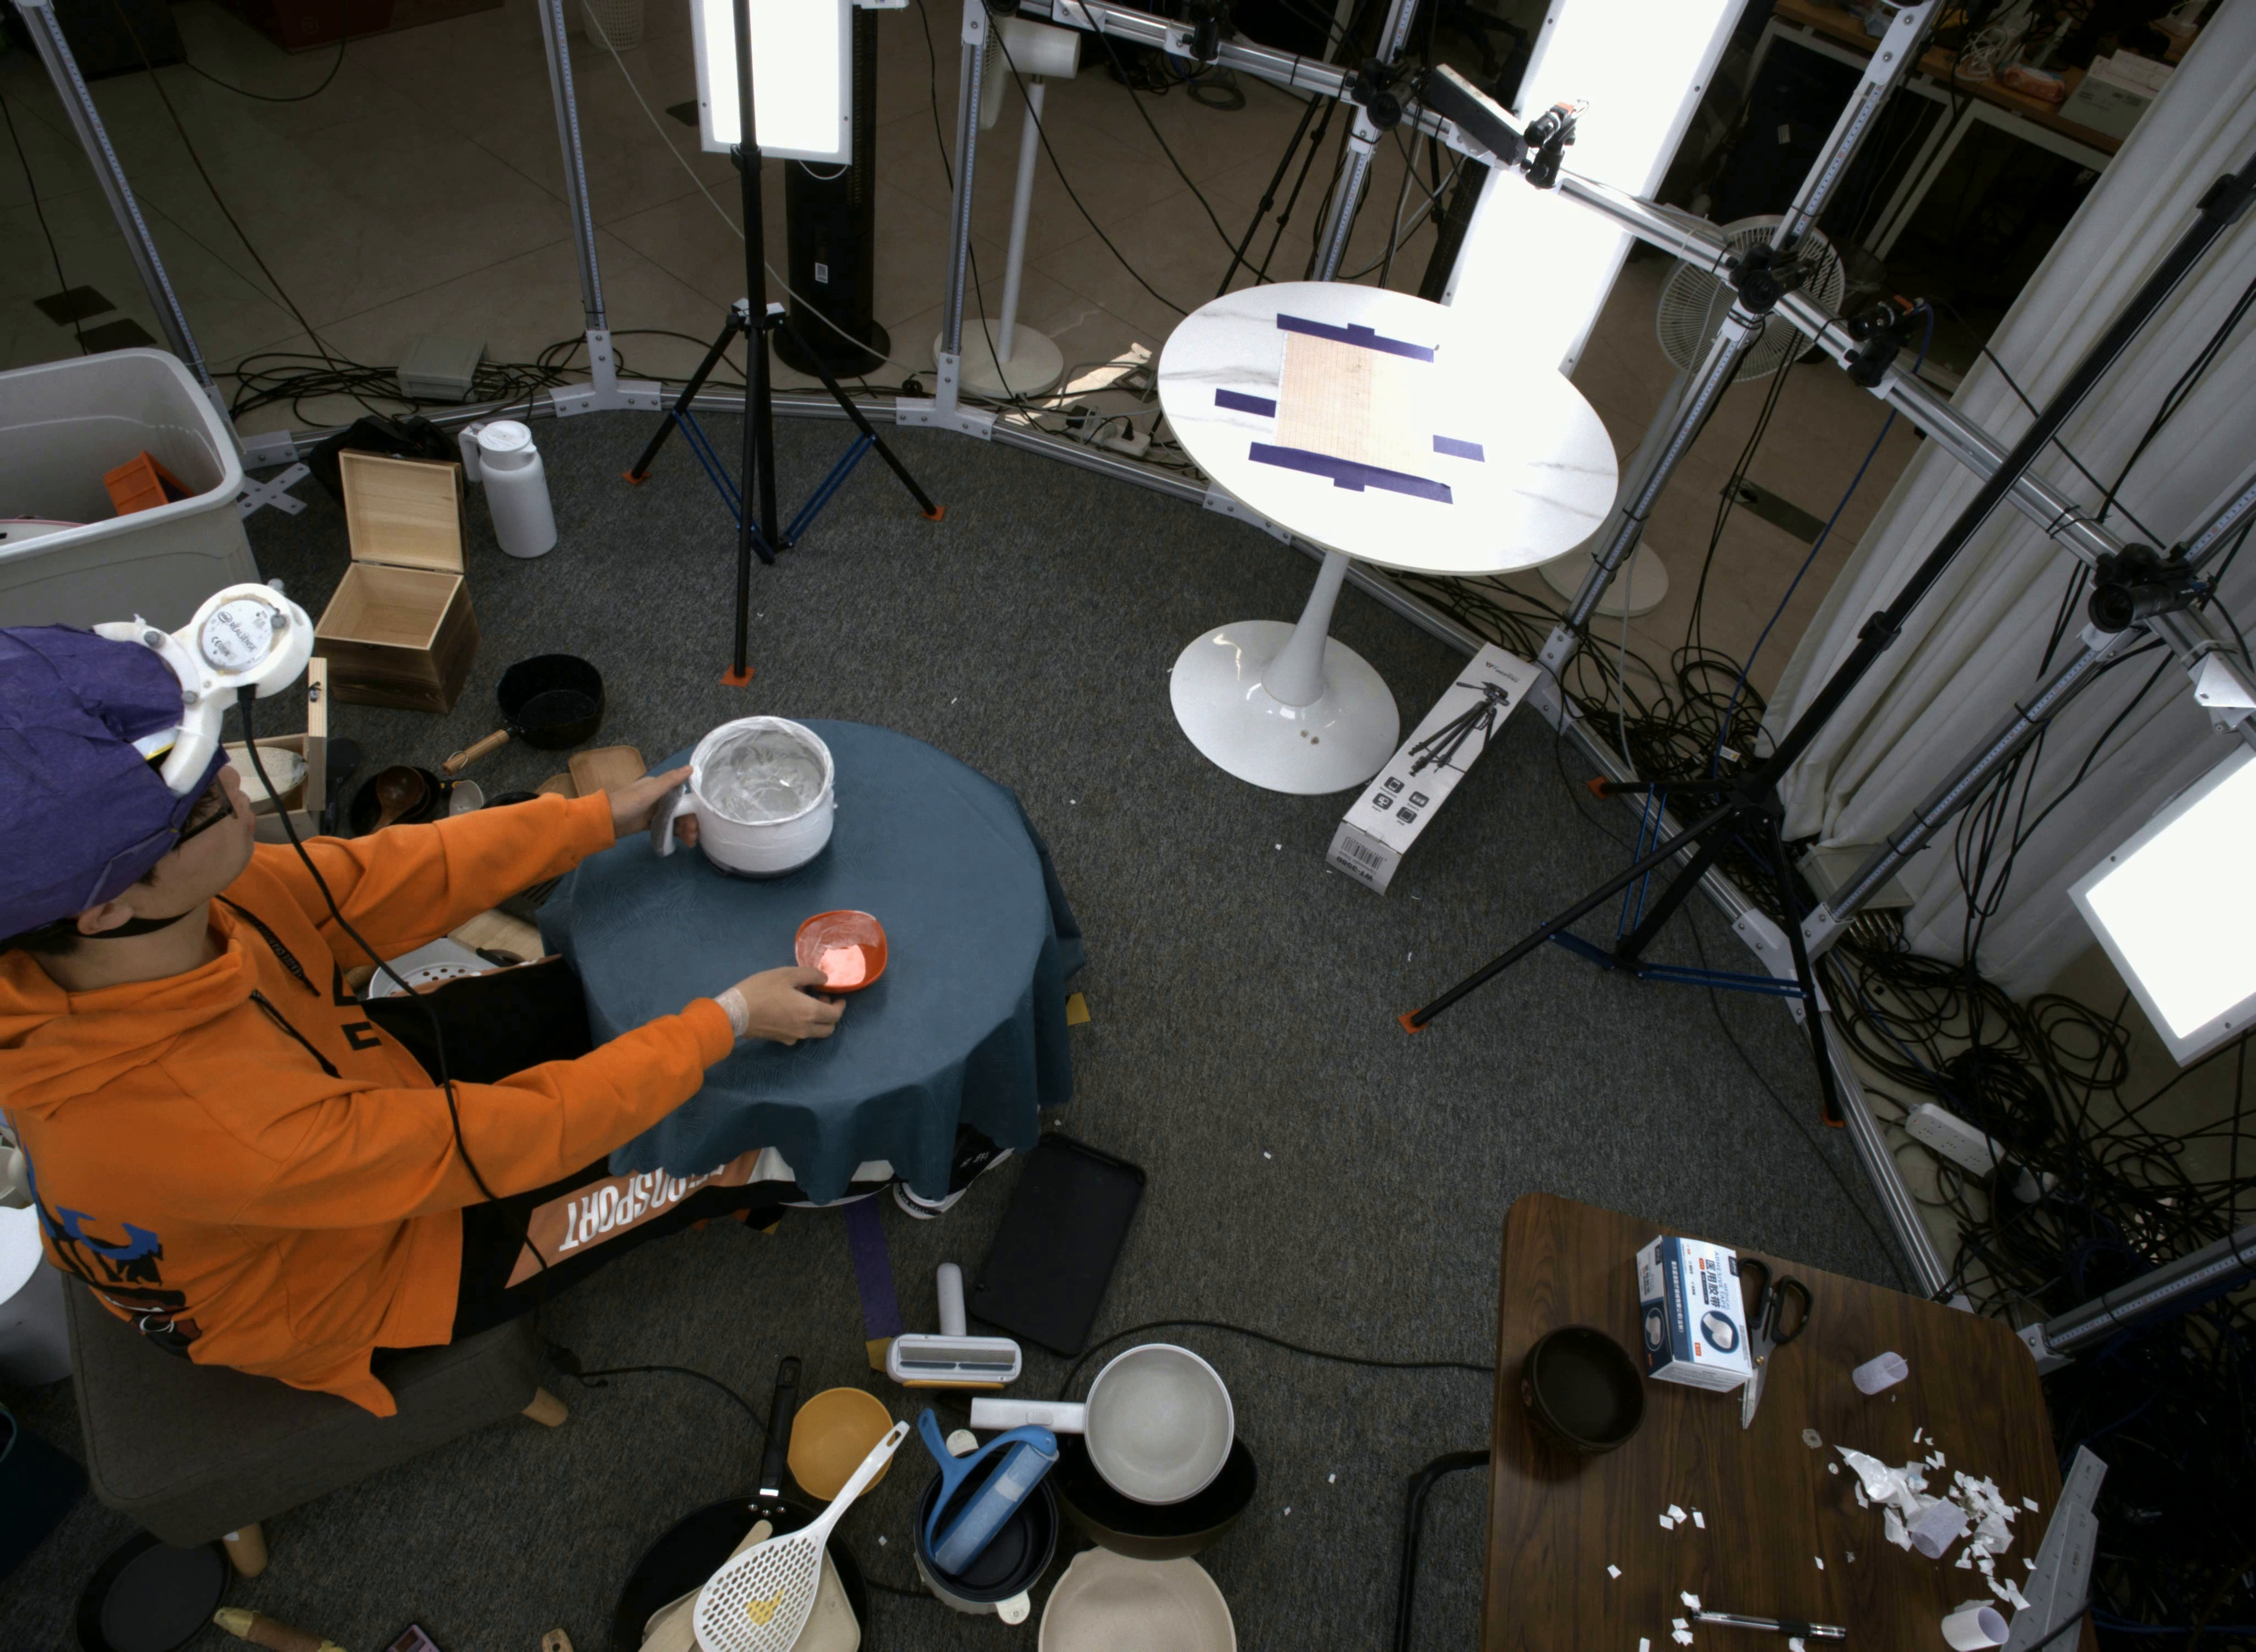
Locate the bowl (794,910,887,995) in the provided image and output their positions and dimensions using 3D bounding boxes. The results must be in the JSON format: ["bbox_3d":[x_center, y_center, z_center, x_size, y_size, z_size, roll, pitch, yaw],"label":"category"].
[{"bbox_3d":[-0.350,0.161,1.580,0.119,0.052,0.117,8,53,-9],"label":"bowl"}]

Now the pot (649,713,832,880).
[{"bbox_3d":[-0.489,-0.027,1.627,0.235,0.139,0.174,-17,58,-25],"label":"pot"}]
